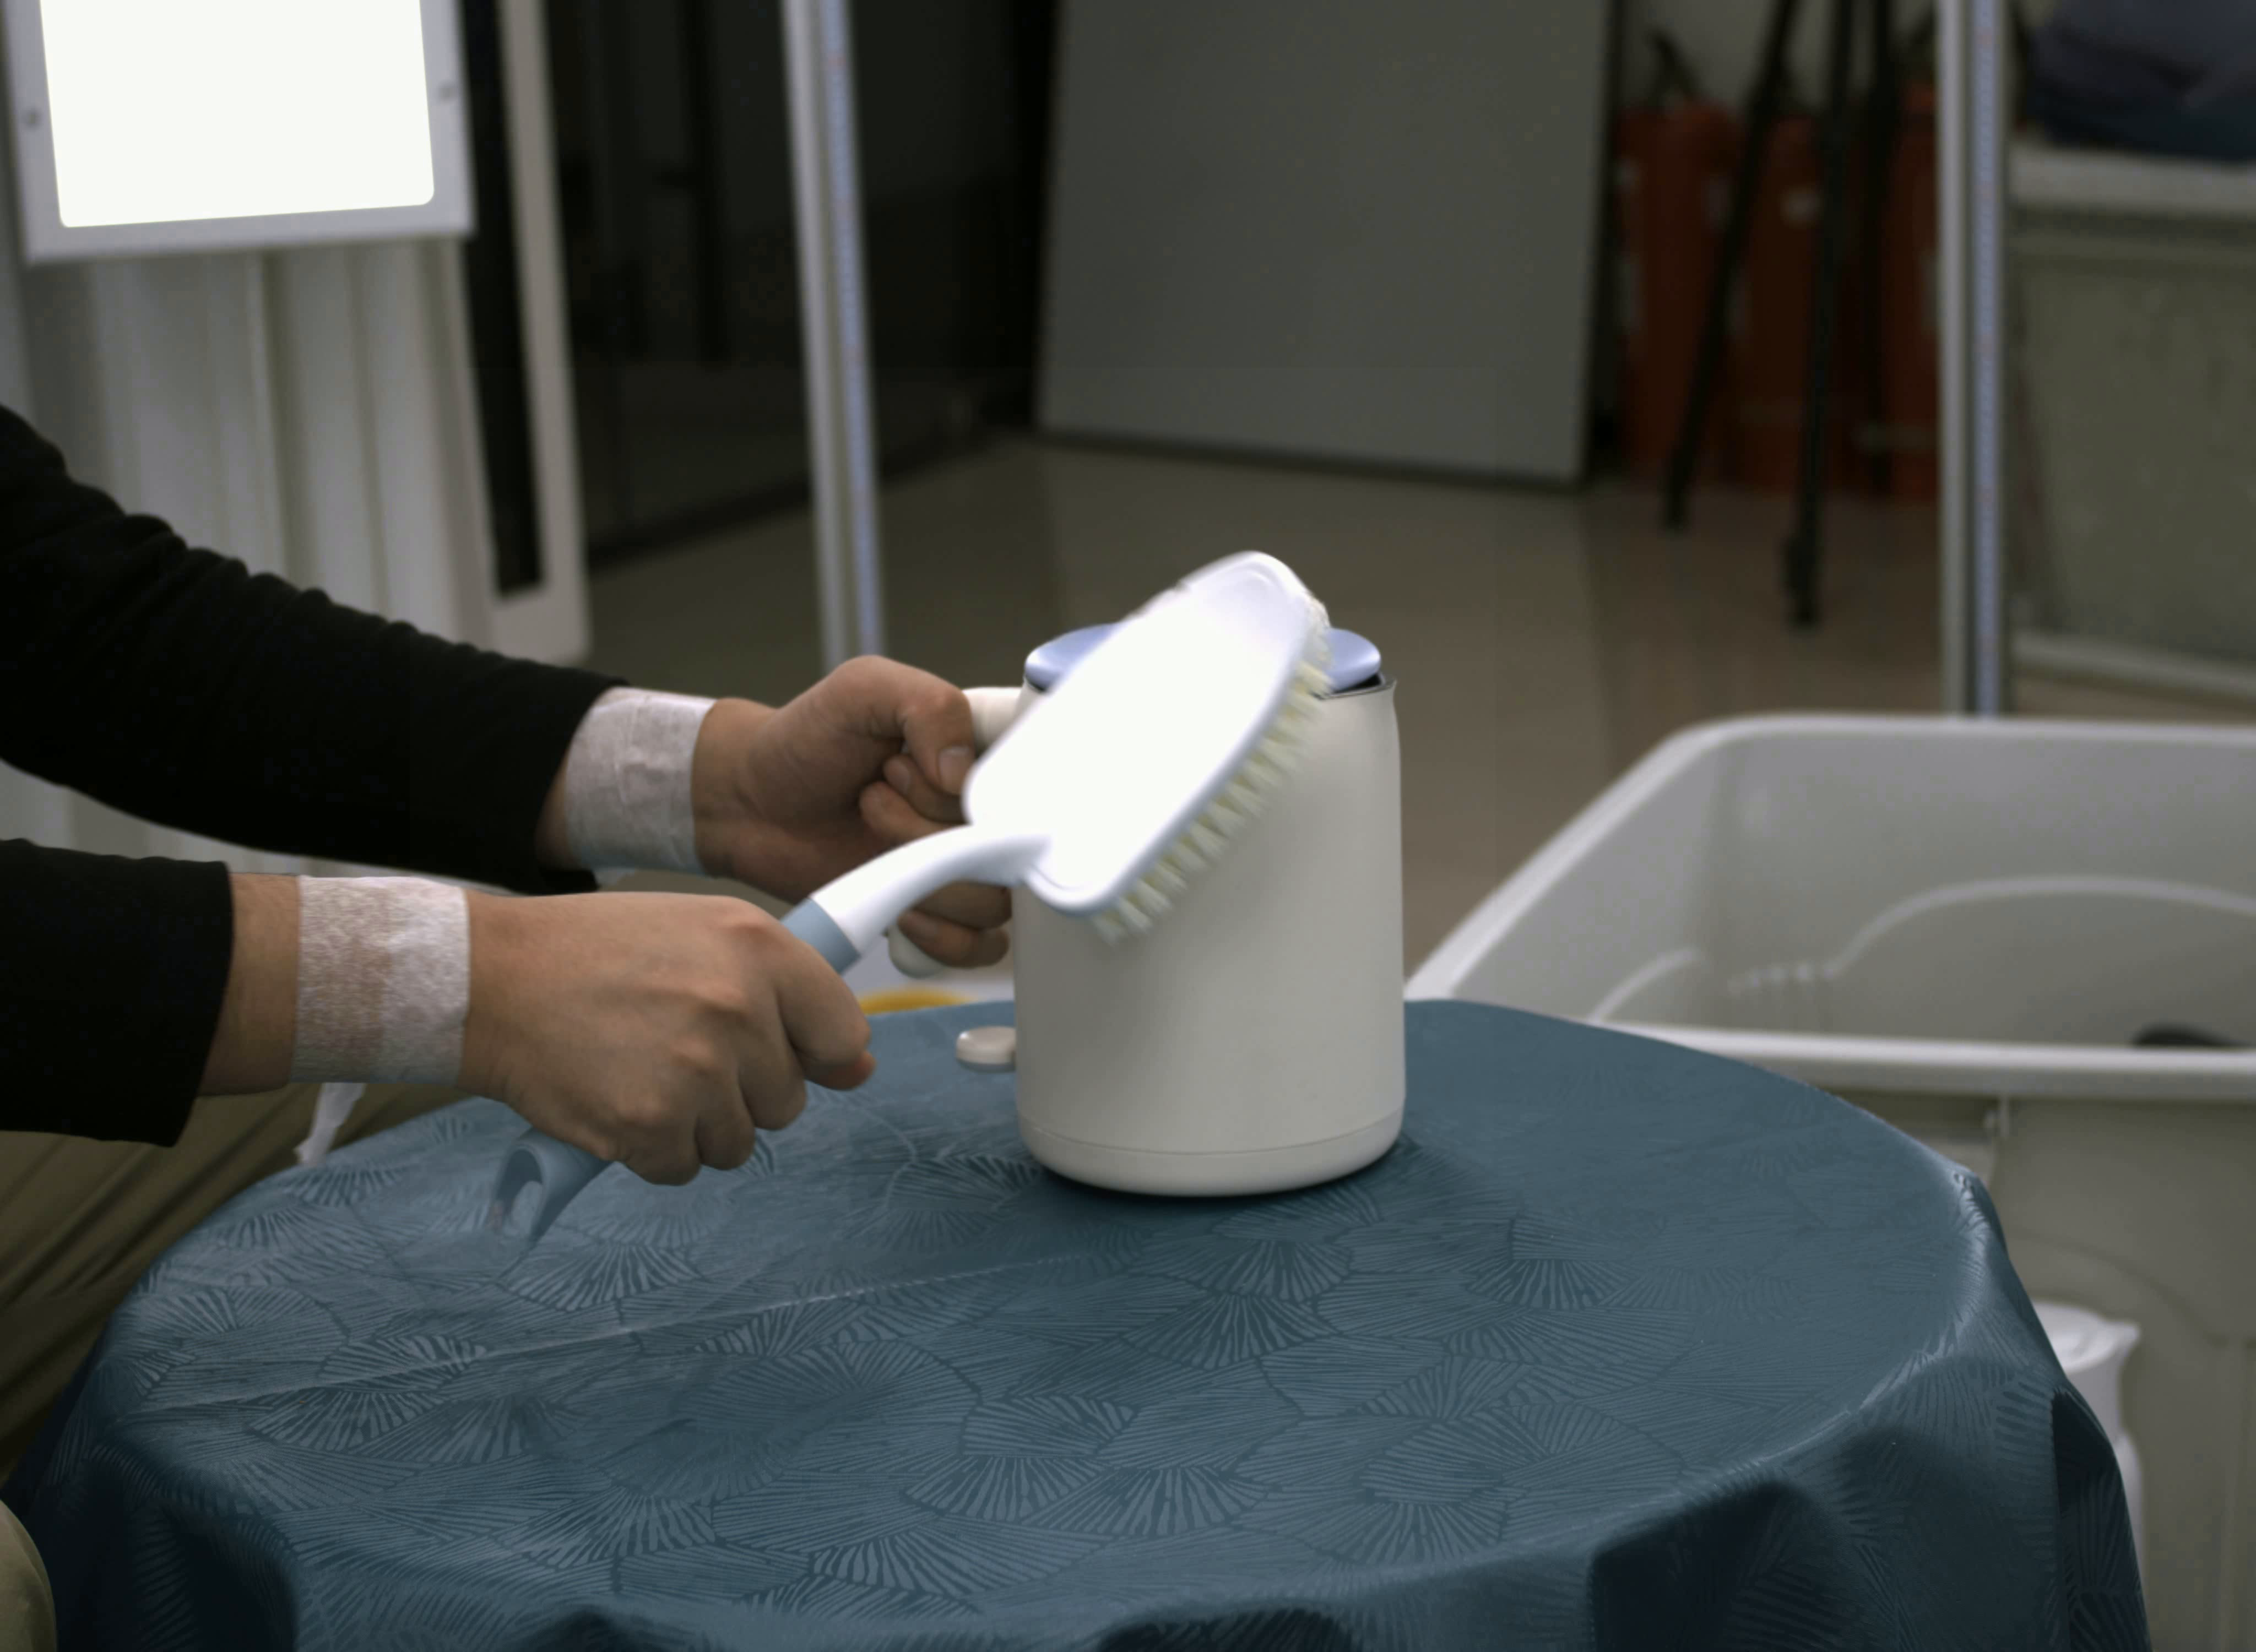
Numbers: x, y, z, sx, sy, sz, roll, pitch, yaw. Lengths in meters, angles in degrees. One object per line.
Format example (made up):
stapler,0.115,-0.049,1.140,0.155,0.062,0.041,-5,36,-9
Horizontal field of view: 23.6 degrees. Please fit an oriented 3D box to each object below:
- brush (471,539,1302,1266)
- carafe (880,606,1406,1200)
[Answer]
brush,-0.071,0.033,1.670,0.324,0.084,0.084,-42,20,-10
carafe,0.004,0.023,1.795,0.191,0.184,0.130,2,12,24
